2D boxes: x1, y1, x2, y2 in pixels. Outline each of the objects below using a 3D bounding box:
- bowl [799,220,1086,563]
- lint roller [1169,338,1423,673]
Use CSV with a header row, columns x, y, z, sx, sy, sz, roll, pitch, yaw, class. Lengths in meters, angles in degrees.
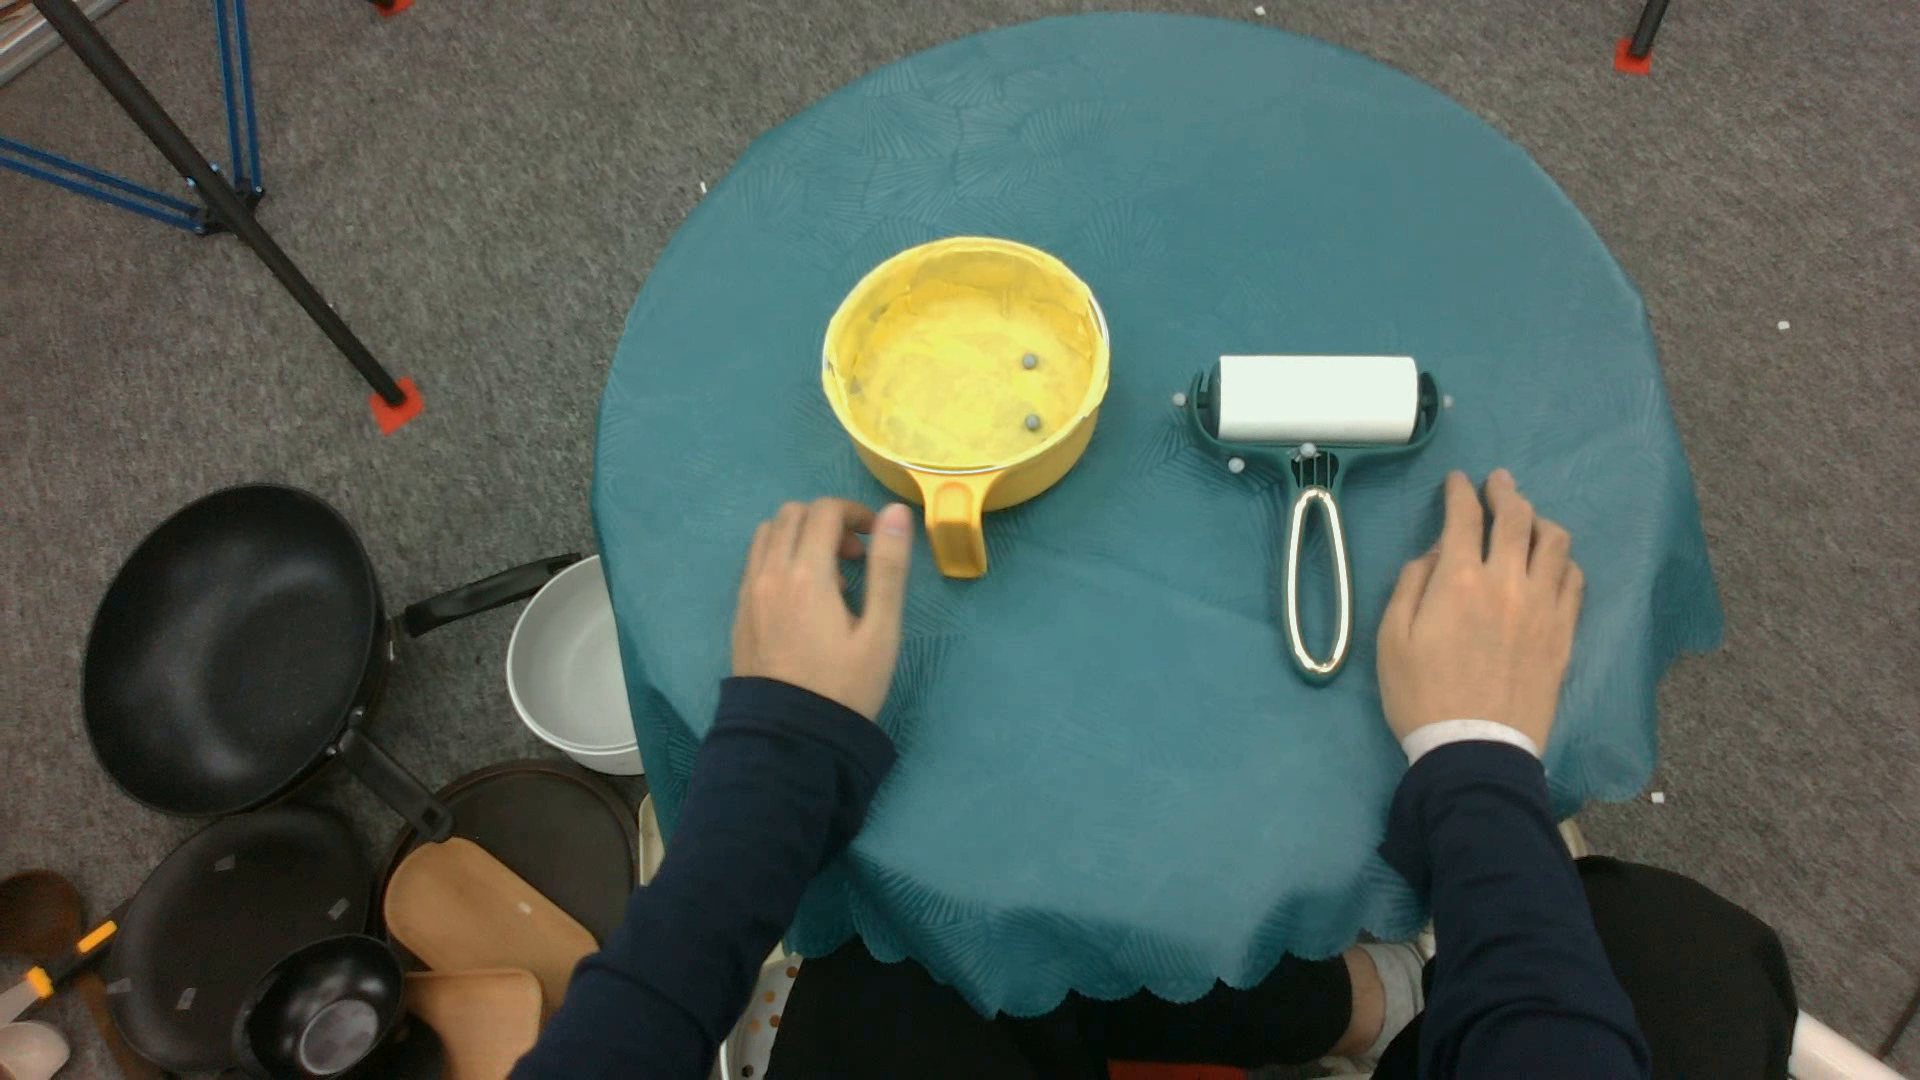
x,y,z,sx,sy,sz,roll,pitch,yaw,class
-0.008,-0.082,0.747,0.153,0.074,0.180,-4,62,1,bowl
0.176,-0.023,0.717,0.134,0.048,0.181,1,67,5,lint roller
